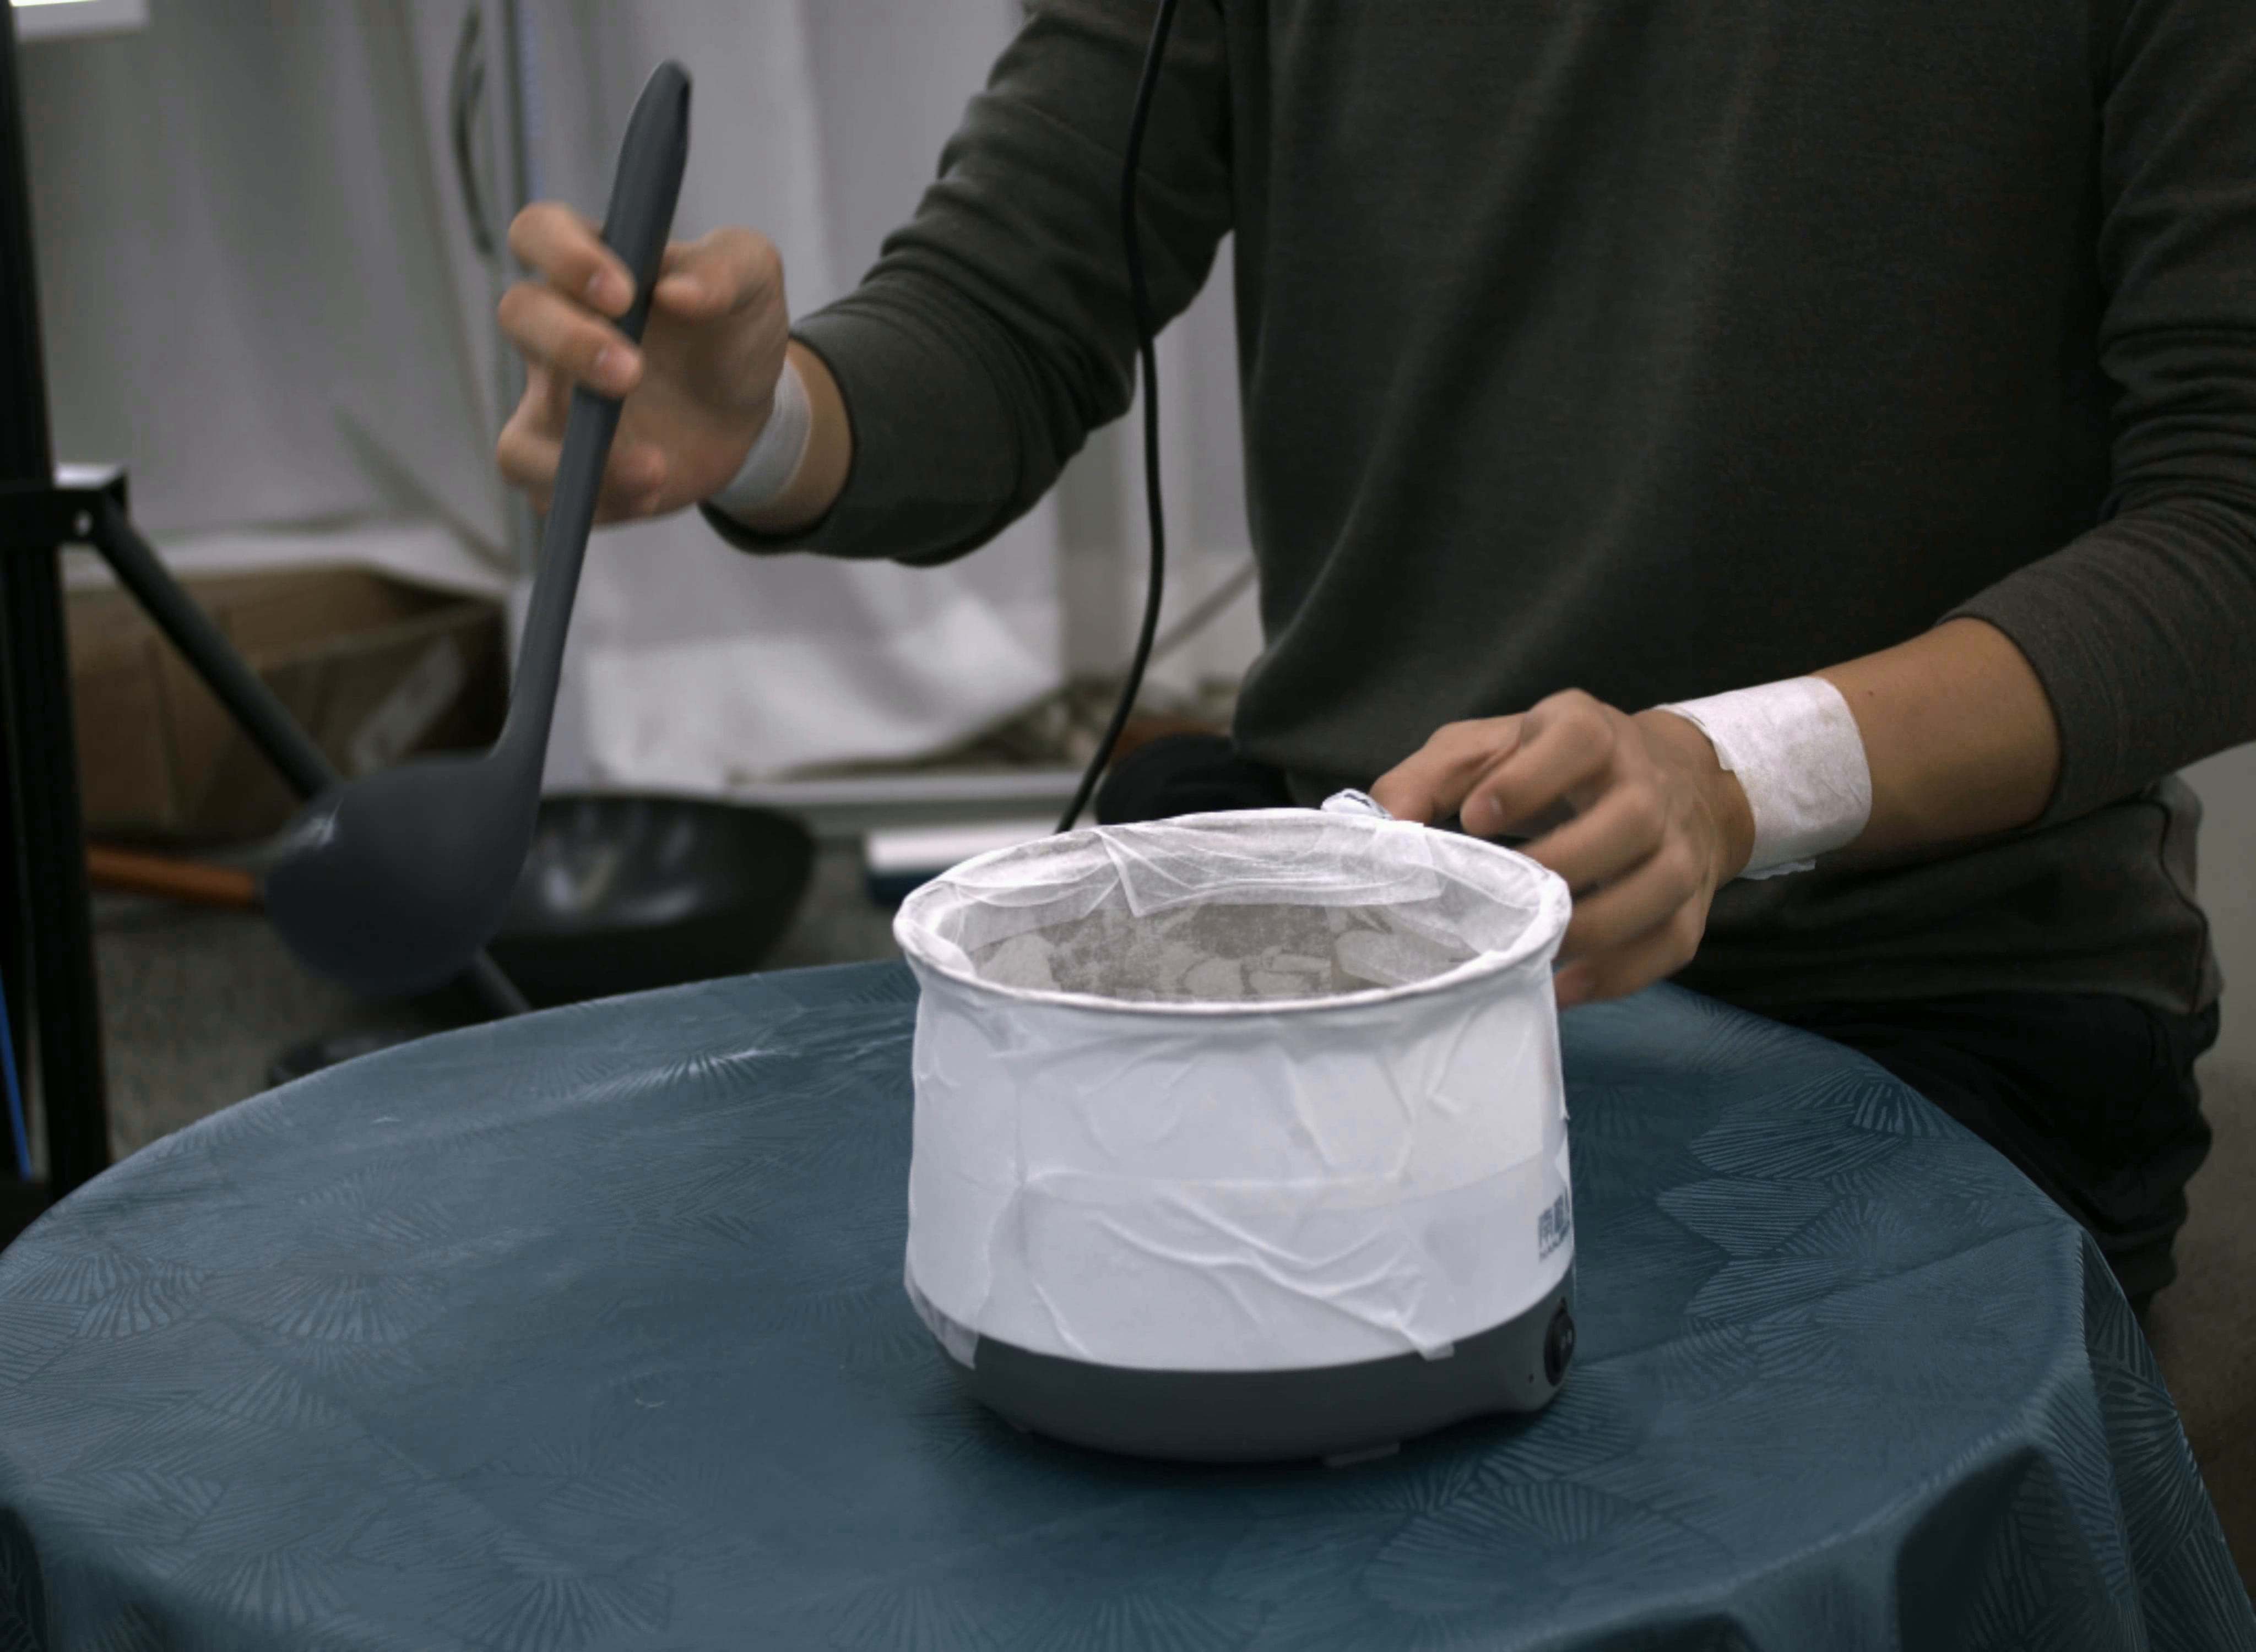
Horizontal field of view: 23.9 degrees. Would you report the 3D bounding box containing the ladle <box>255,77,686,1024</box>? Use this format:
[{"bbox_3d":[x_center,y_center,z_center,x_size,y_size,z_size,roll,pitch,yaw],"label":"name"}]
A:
[{"bbox_3d":[-0.181,-0.088,1.524,0.064,0.085,0.316,3,59,11],"label":"ladle"}]

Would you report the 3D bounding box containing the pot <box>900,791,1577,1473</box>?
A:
[{"bbox_3d":[0.039,0.075,1.423,0.181,0.136,0.231,4,16,20],"label":"pot"}]
